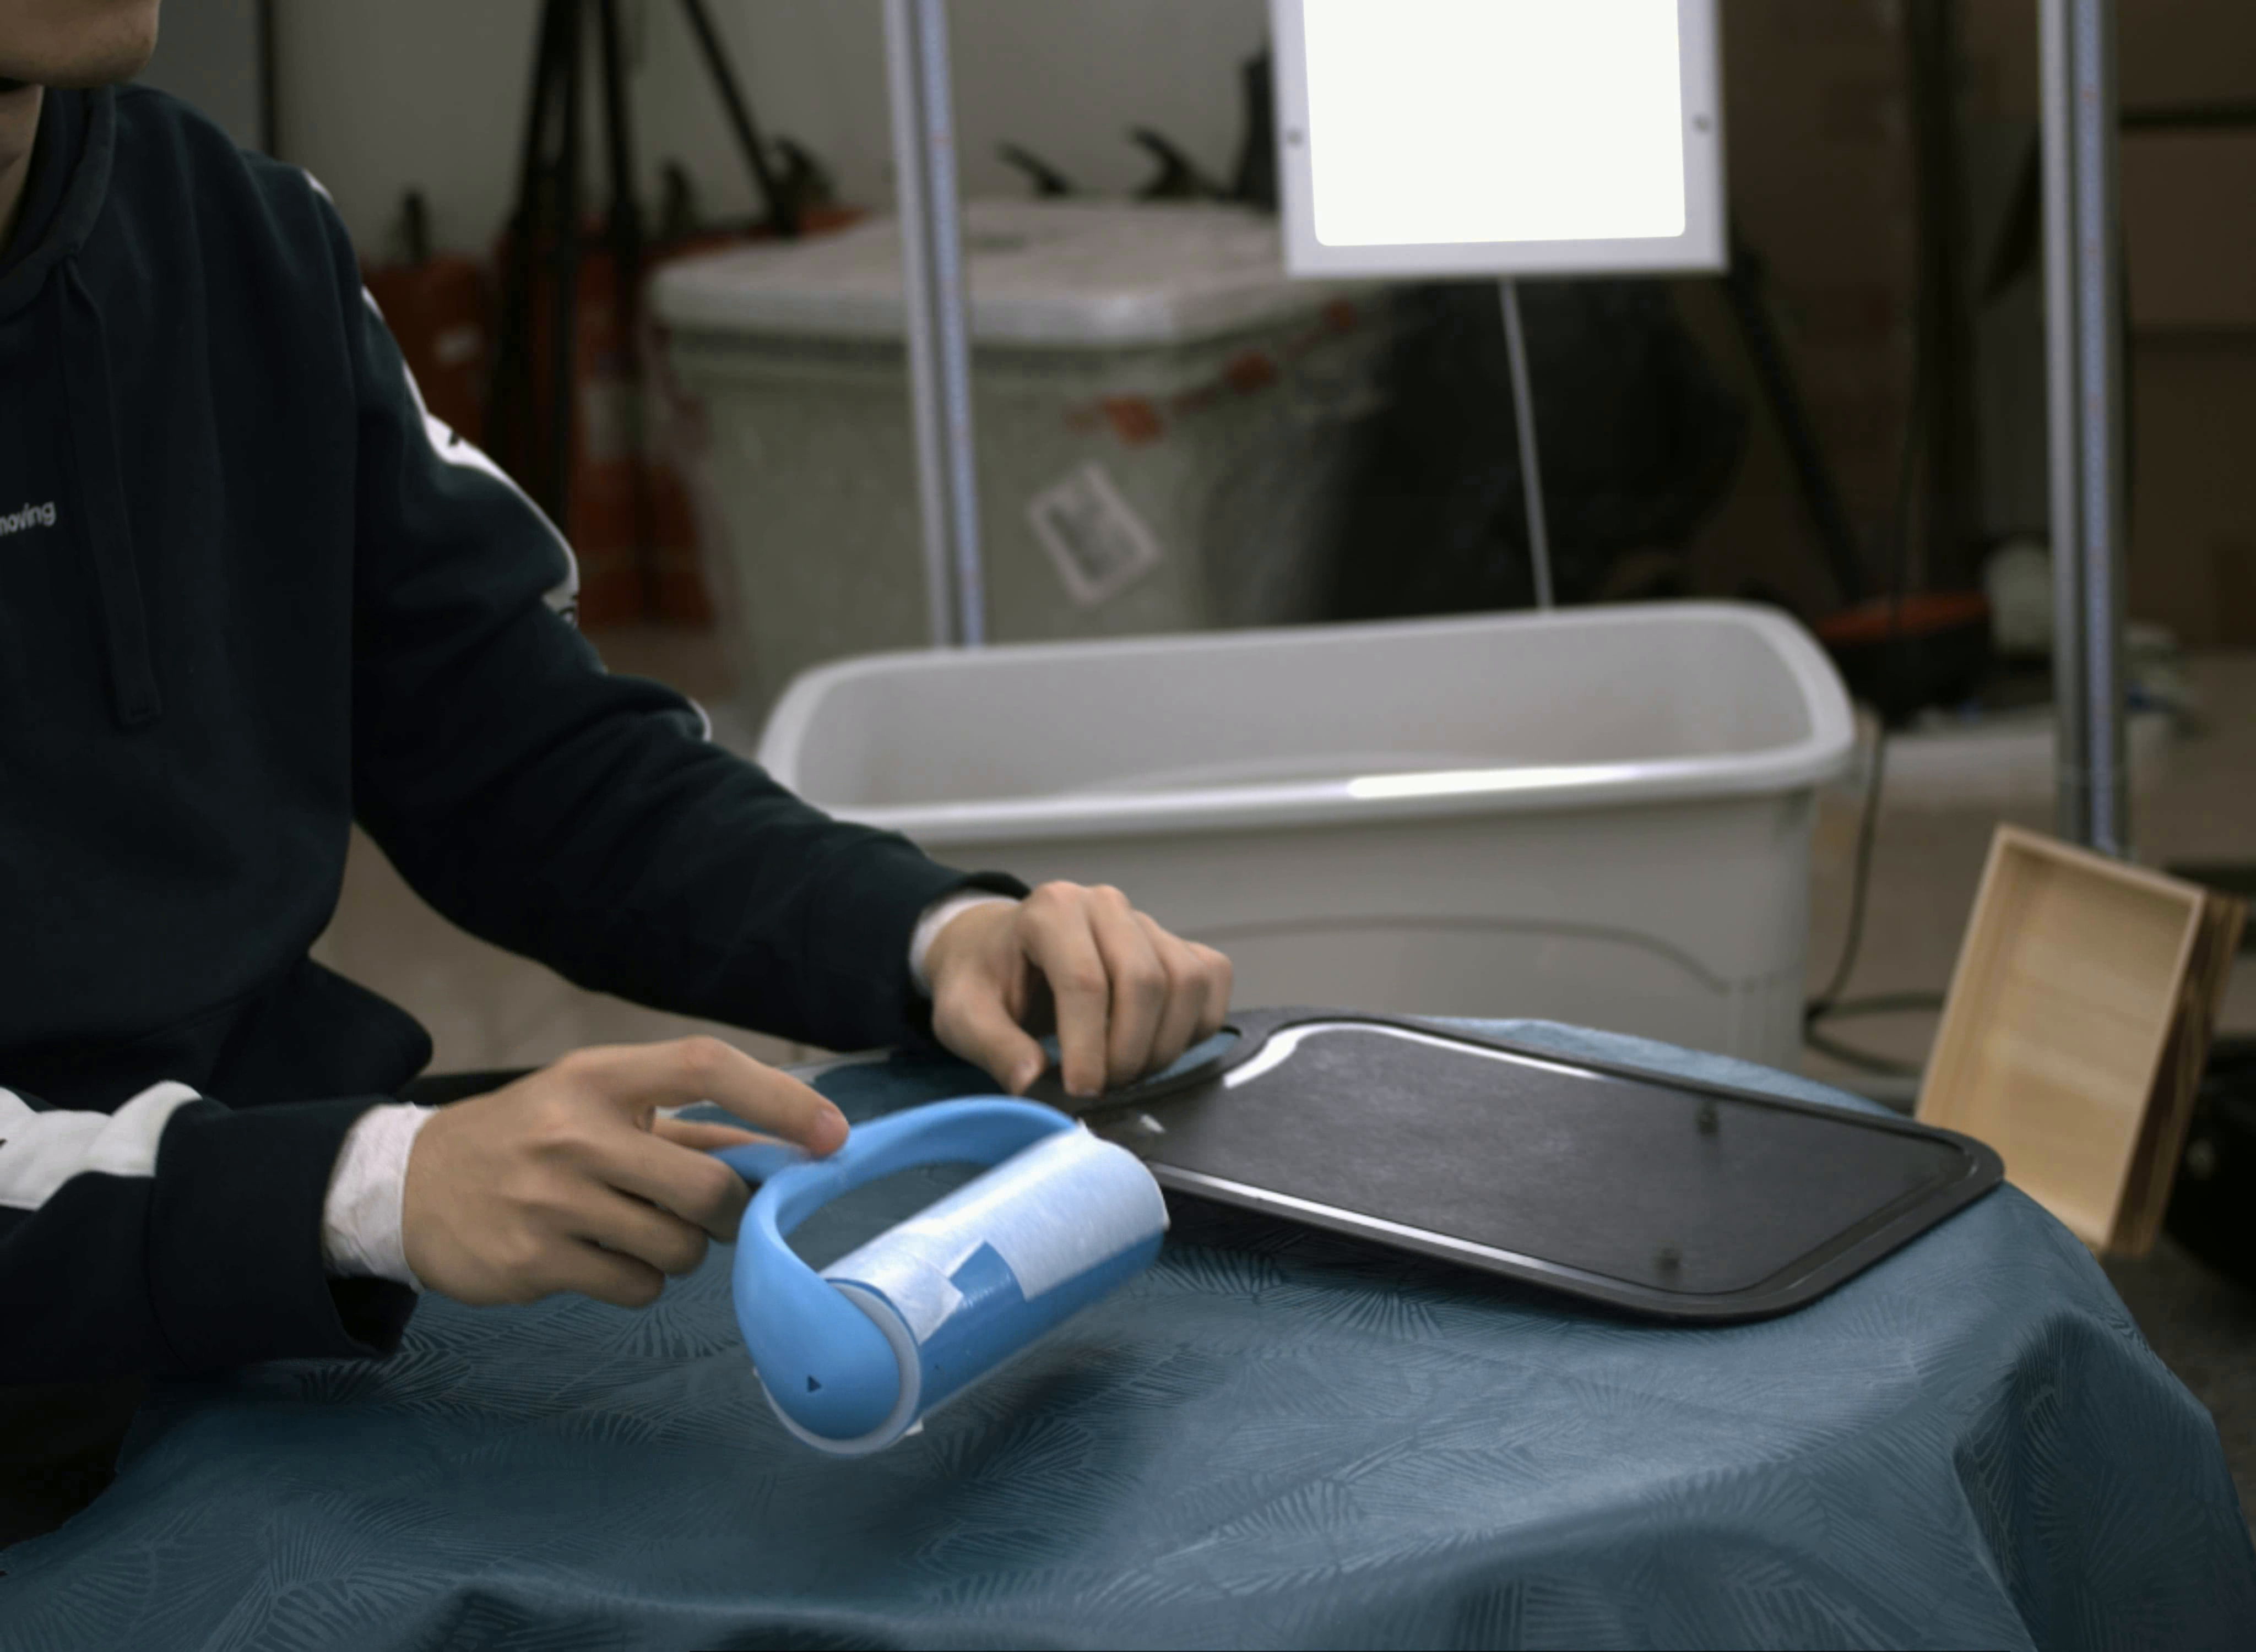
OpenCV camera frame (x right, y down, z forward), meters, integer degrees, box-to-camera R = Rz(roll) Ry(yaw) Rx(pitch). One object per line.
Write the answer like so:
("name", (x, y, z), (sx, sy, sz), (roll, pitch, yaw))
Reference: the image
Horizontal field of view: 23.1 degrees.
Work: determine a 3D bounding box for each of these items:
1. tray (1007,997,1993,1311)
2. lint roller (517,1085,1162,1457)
("tray", (0.117, 0.105, 1.861), (0.332, 0.010, 0.206), (12, 20, 36))
("lint roller", (-0.103, 0.126, 1.679), (0.182, 0.068, 0.225), (9, 16, 18))
